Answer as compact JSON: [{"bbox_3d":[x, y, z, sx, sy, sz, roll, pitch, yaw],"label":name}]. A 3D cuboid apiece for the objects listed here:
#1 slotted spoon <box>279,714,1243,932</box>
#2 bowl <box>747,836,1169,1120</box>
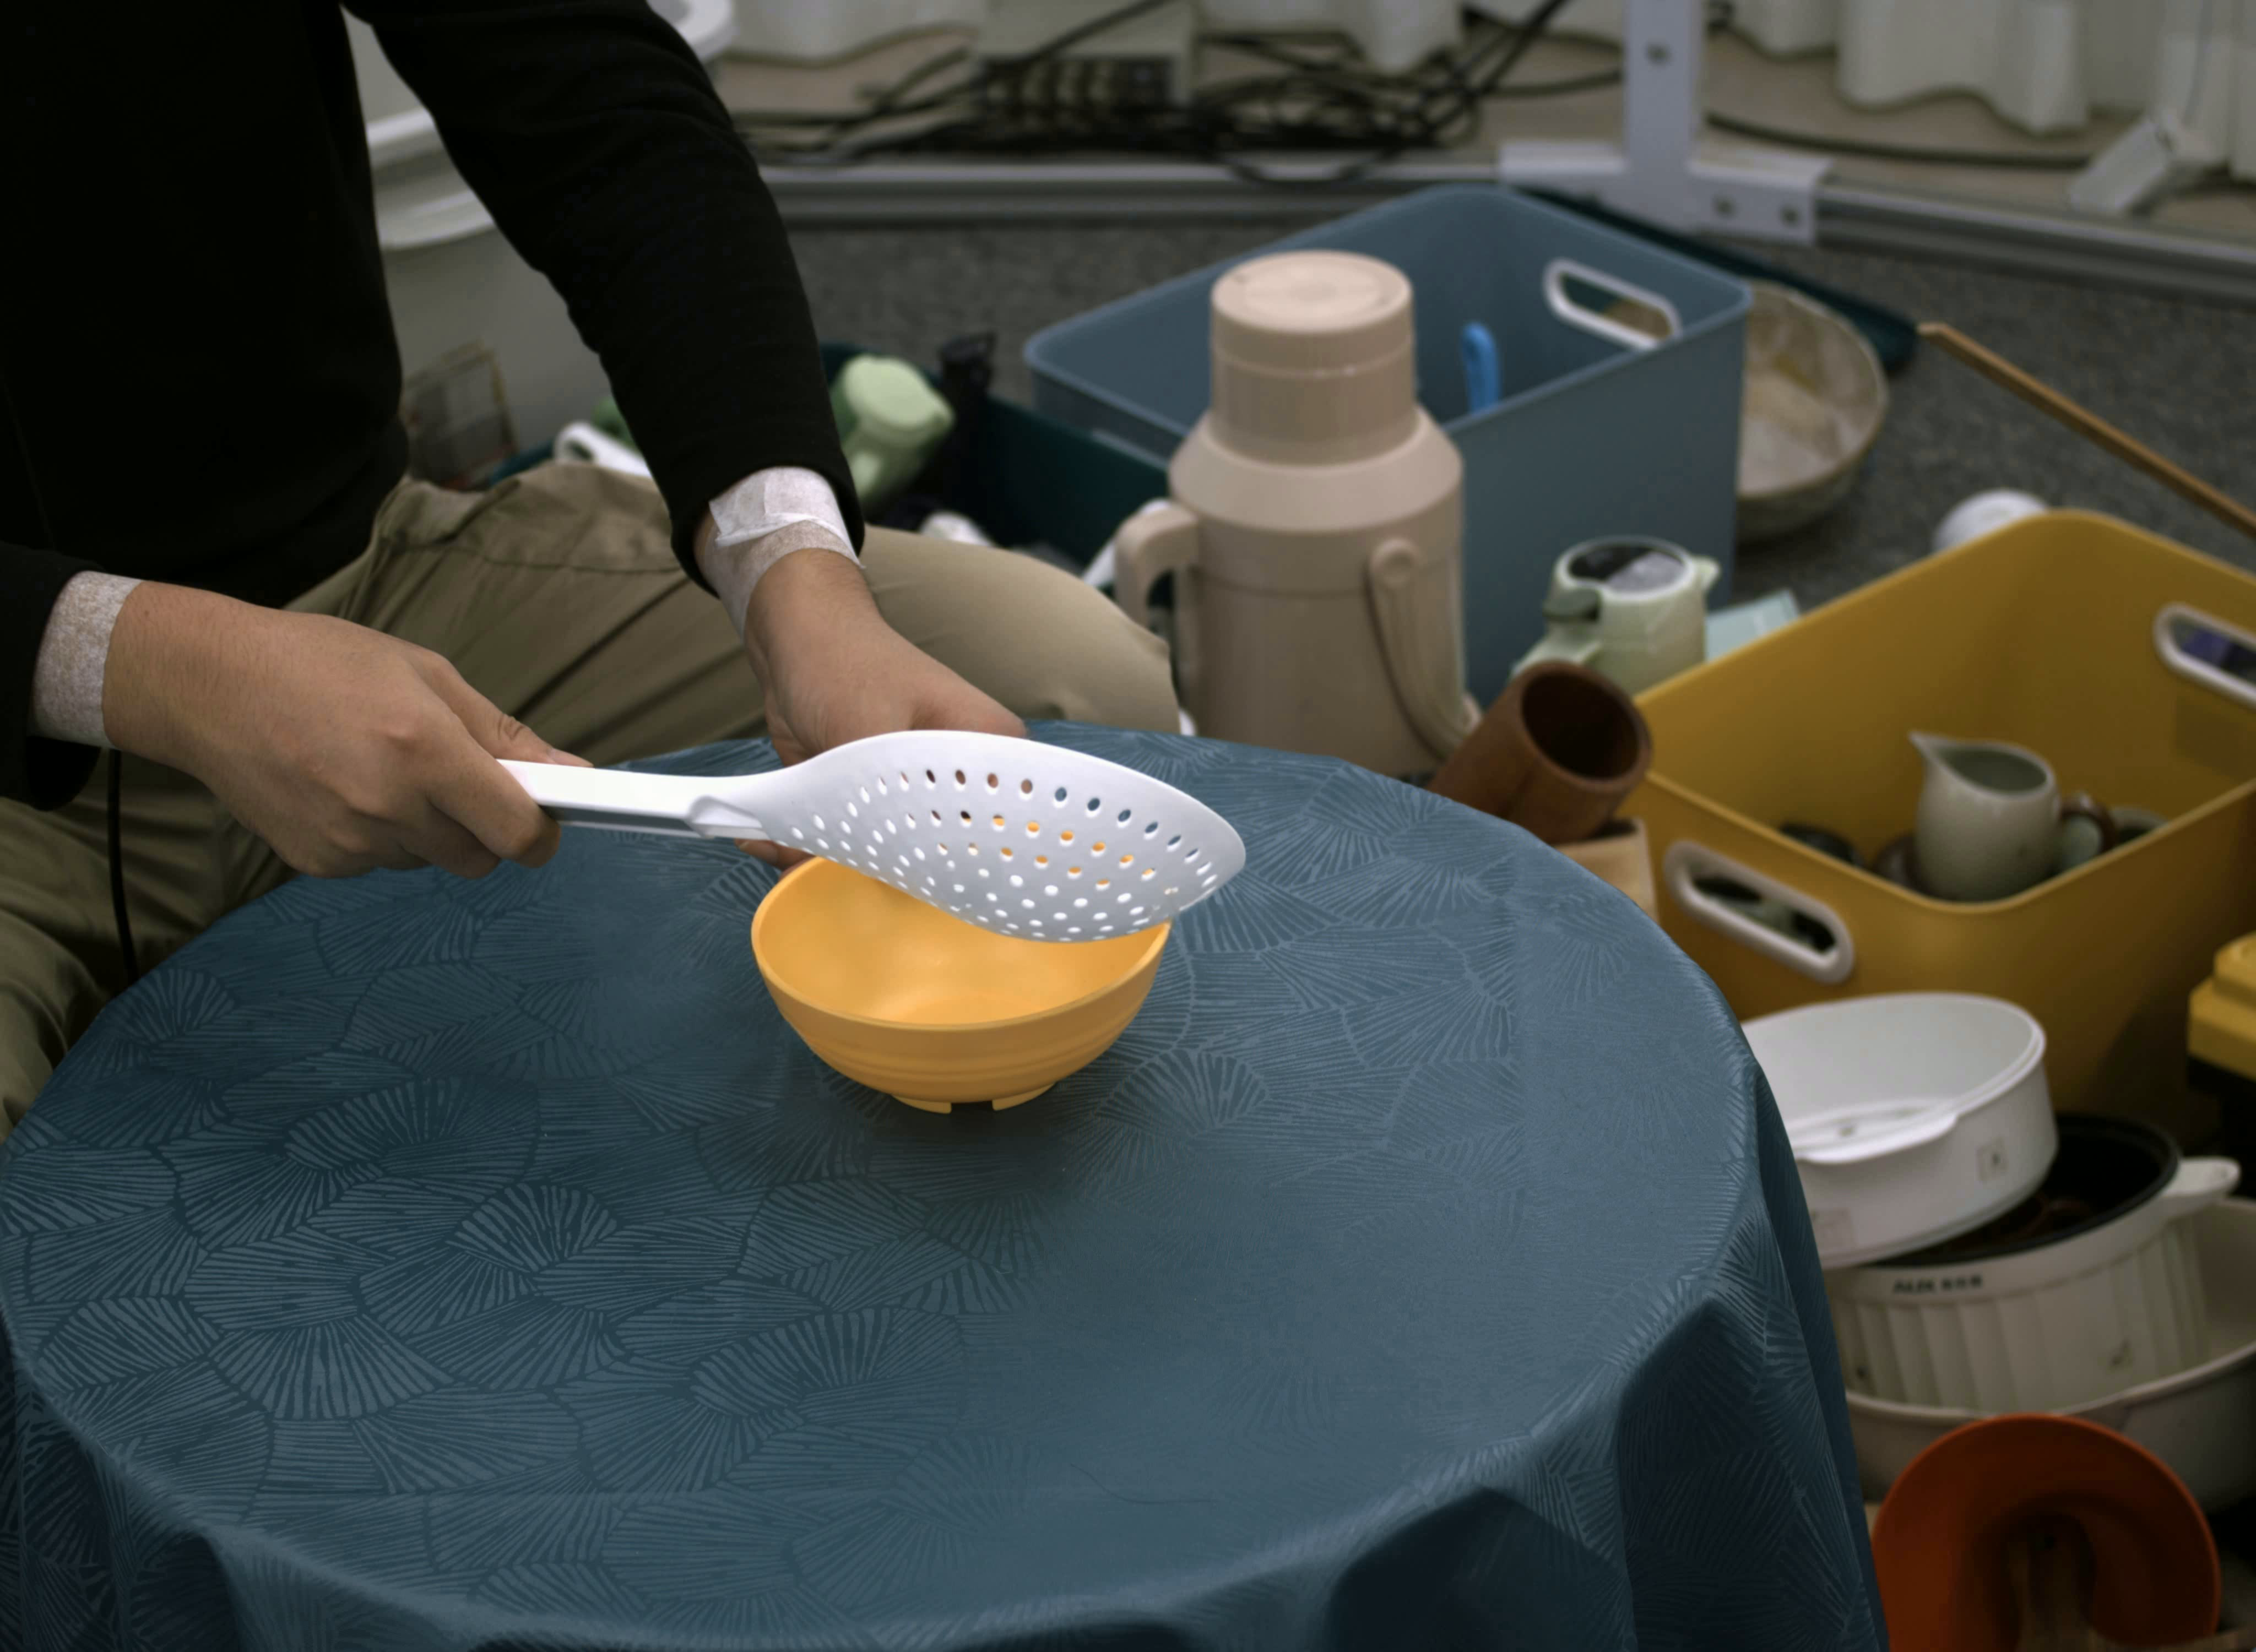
[{"bbox_3d":[-0.128,-0.008,1.859,0.347,0.135,0.046,9,71,25],"label":"slotted spoon"},{"bbox_3d":[-0.057,0.059,1.927,0.144,0.059,0.147,0,27,1],"label":"bowl"}]
